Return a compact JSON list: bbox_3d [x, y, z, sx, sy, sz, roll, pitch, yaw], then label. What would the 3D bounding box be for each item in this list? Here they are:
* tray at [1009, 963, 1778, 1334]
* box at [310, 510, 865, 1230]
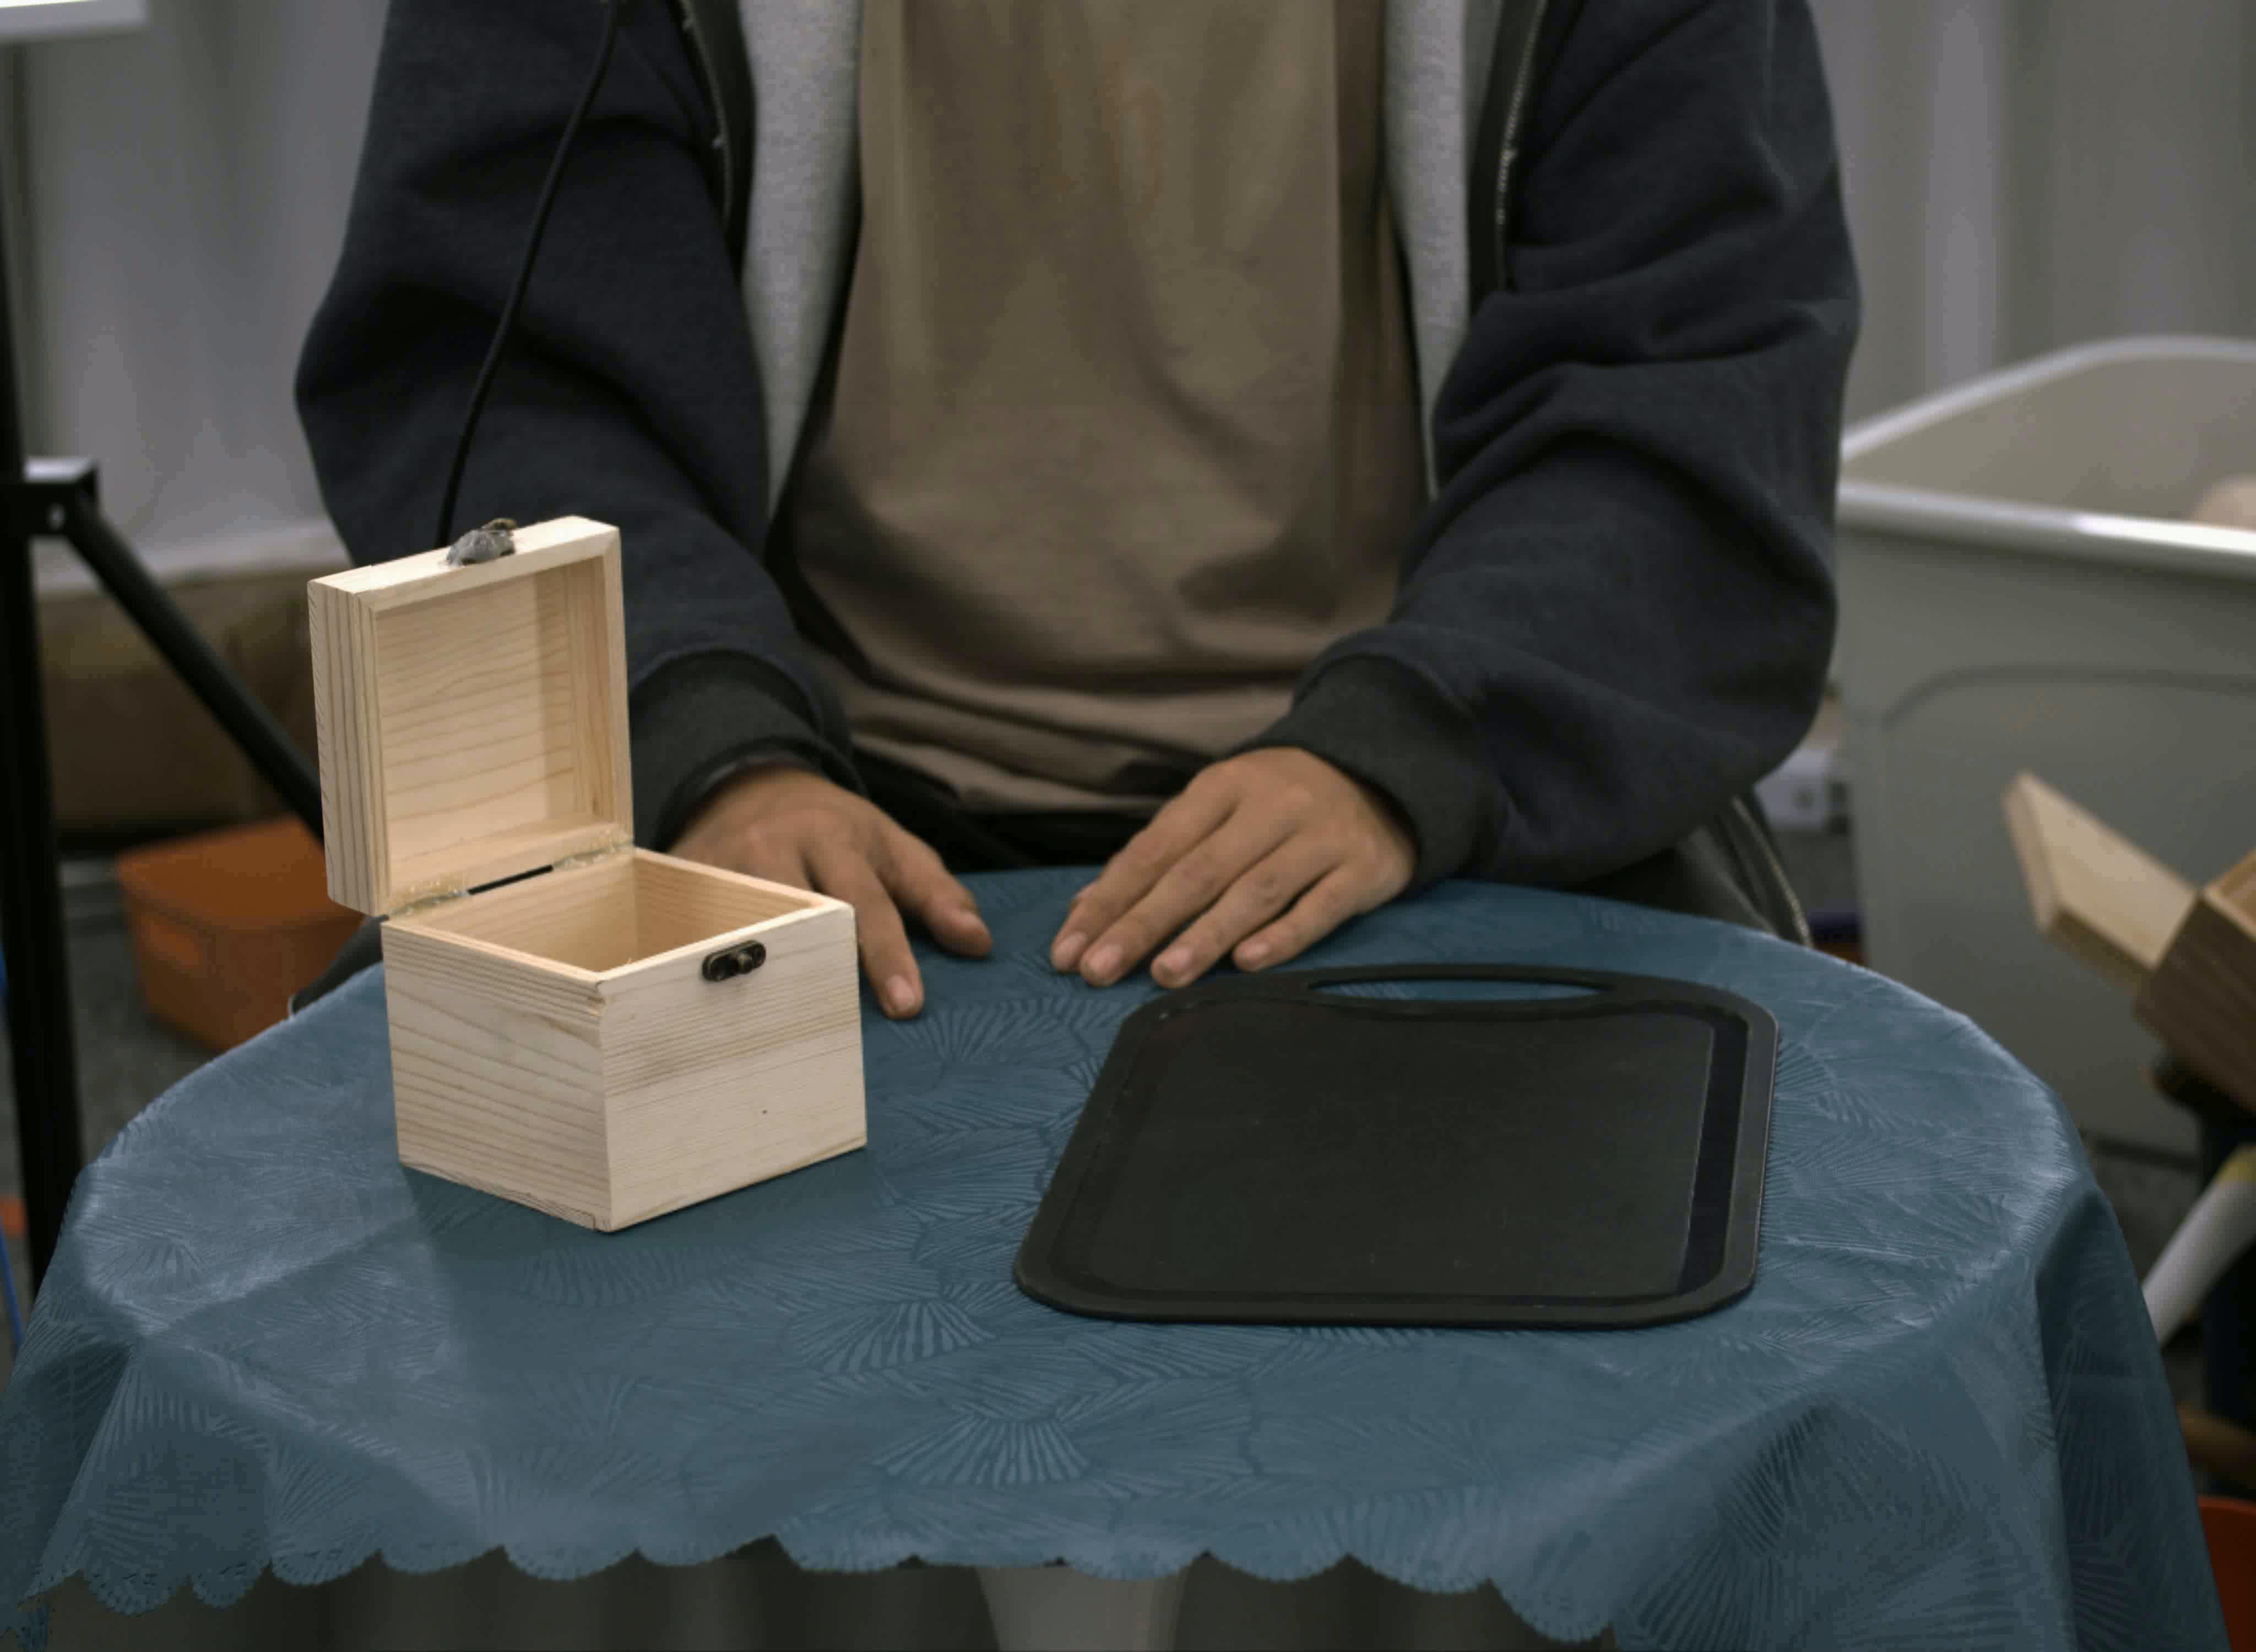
[{"bbox_3d":[0.087,0.090,1.597,0.212,0.010,0.324,0,16,10],"label":"tray"},{"bbox_3d":[-0.160,0.009,1.597,0.100,0.184,0.137,-17,20,-41],"label":"box"}]
